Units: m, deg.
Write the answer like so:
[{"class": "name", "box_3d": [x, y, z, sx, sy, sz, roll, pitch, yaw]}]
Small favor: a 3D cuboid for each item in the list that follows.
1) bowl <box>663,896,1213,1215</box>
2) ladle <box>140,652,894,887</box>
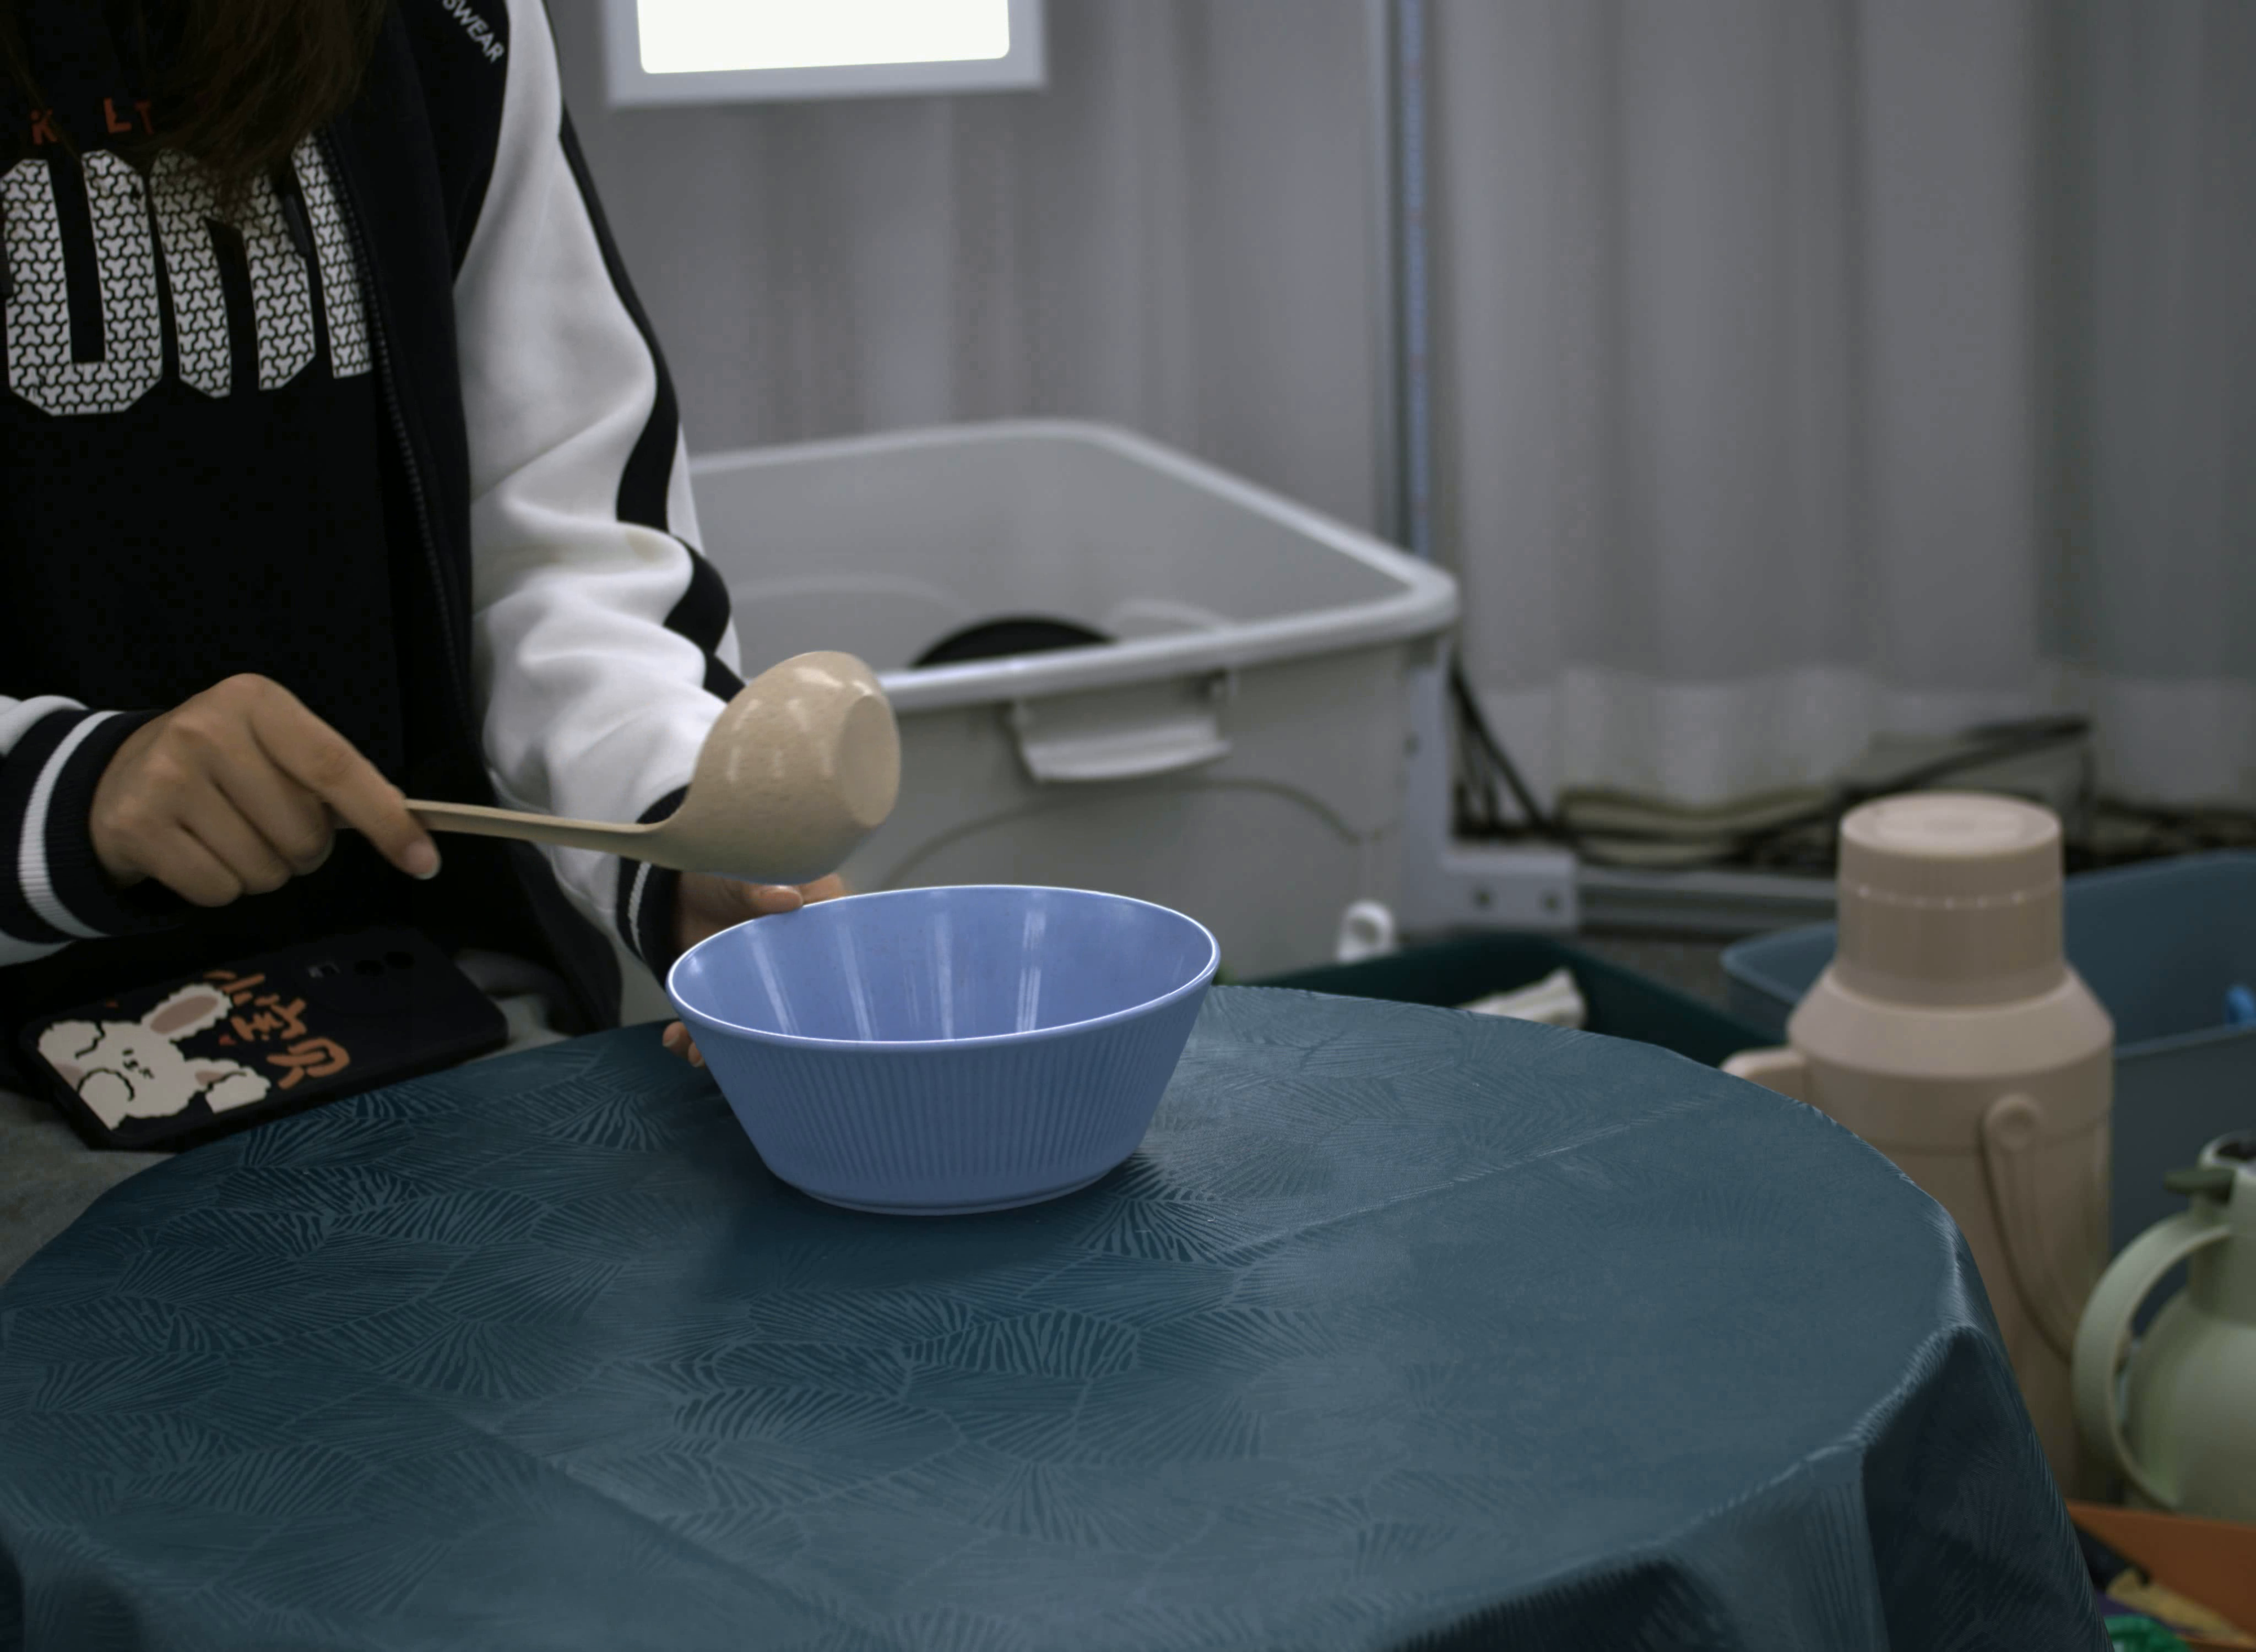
[{"class": "bowl", "box_3d": [-0.059, 0.075, 1.741, 0.175, 0.070, 0.177, -2, 14, 0]}, {"class": "ladle", "box_3d": [-0.190, -0.024, 1.701, 0.255, 0.071, 0.073, 5, 55, 28]}]
